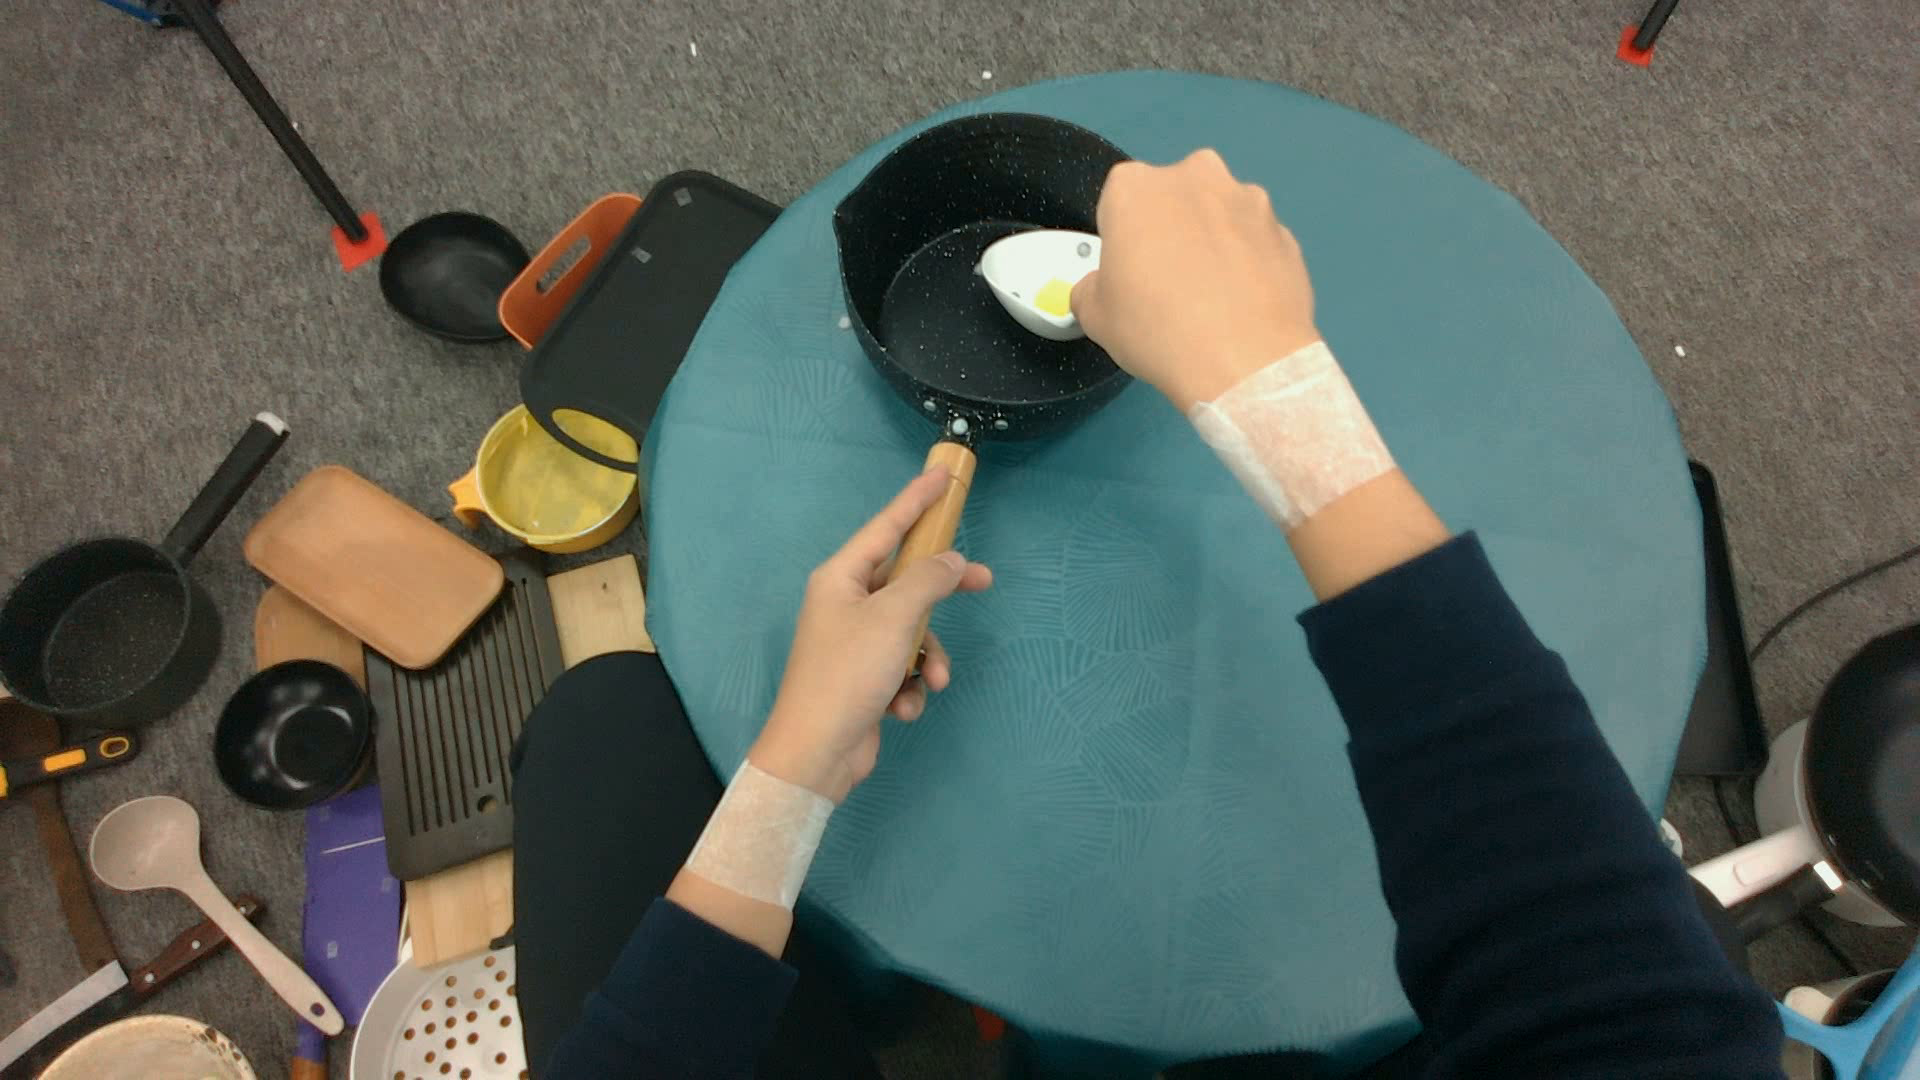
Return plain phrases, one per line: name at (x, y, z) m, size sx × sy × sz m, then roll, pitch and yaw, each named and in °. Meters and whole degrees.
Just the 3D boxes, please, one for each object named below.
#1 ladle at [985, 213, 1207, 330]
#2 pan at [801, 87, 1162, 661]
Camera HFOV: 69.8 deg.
ladle at (0.069, -0.139, 0.685) m, size 0.090 × 0.293 × 0.070 m, roll 6°, pitch 97°, yaw -7°
pan at (-0.003, -0.084, 0.740) m, size 0.207 × 0.108 × 0.344 m, roll 13°, pitch 68°, yaw 2°
